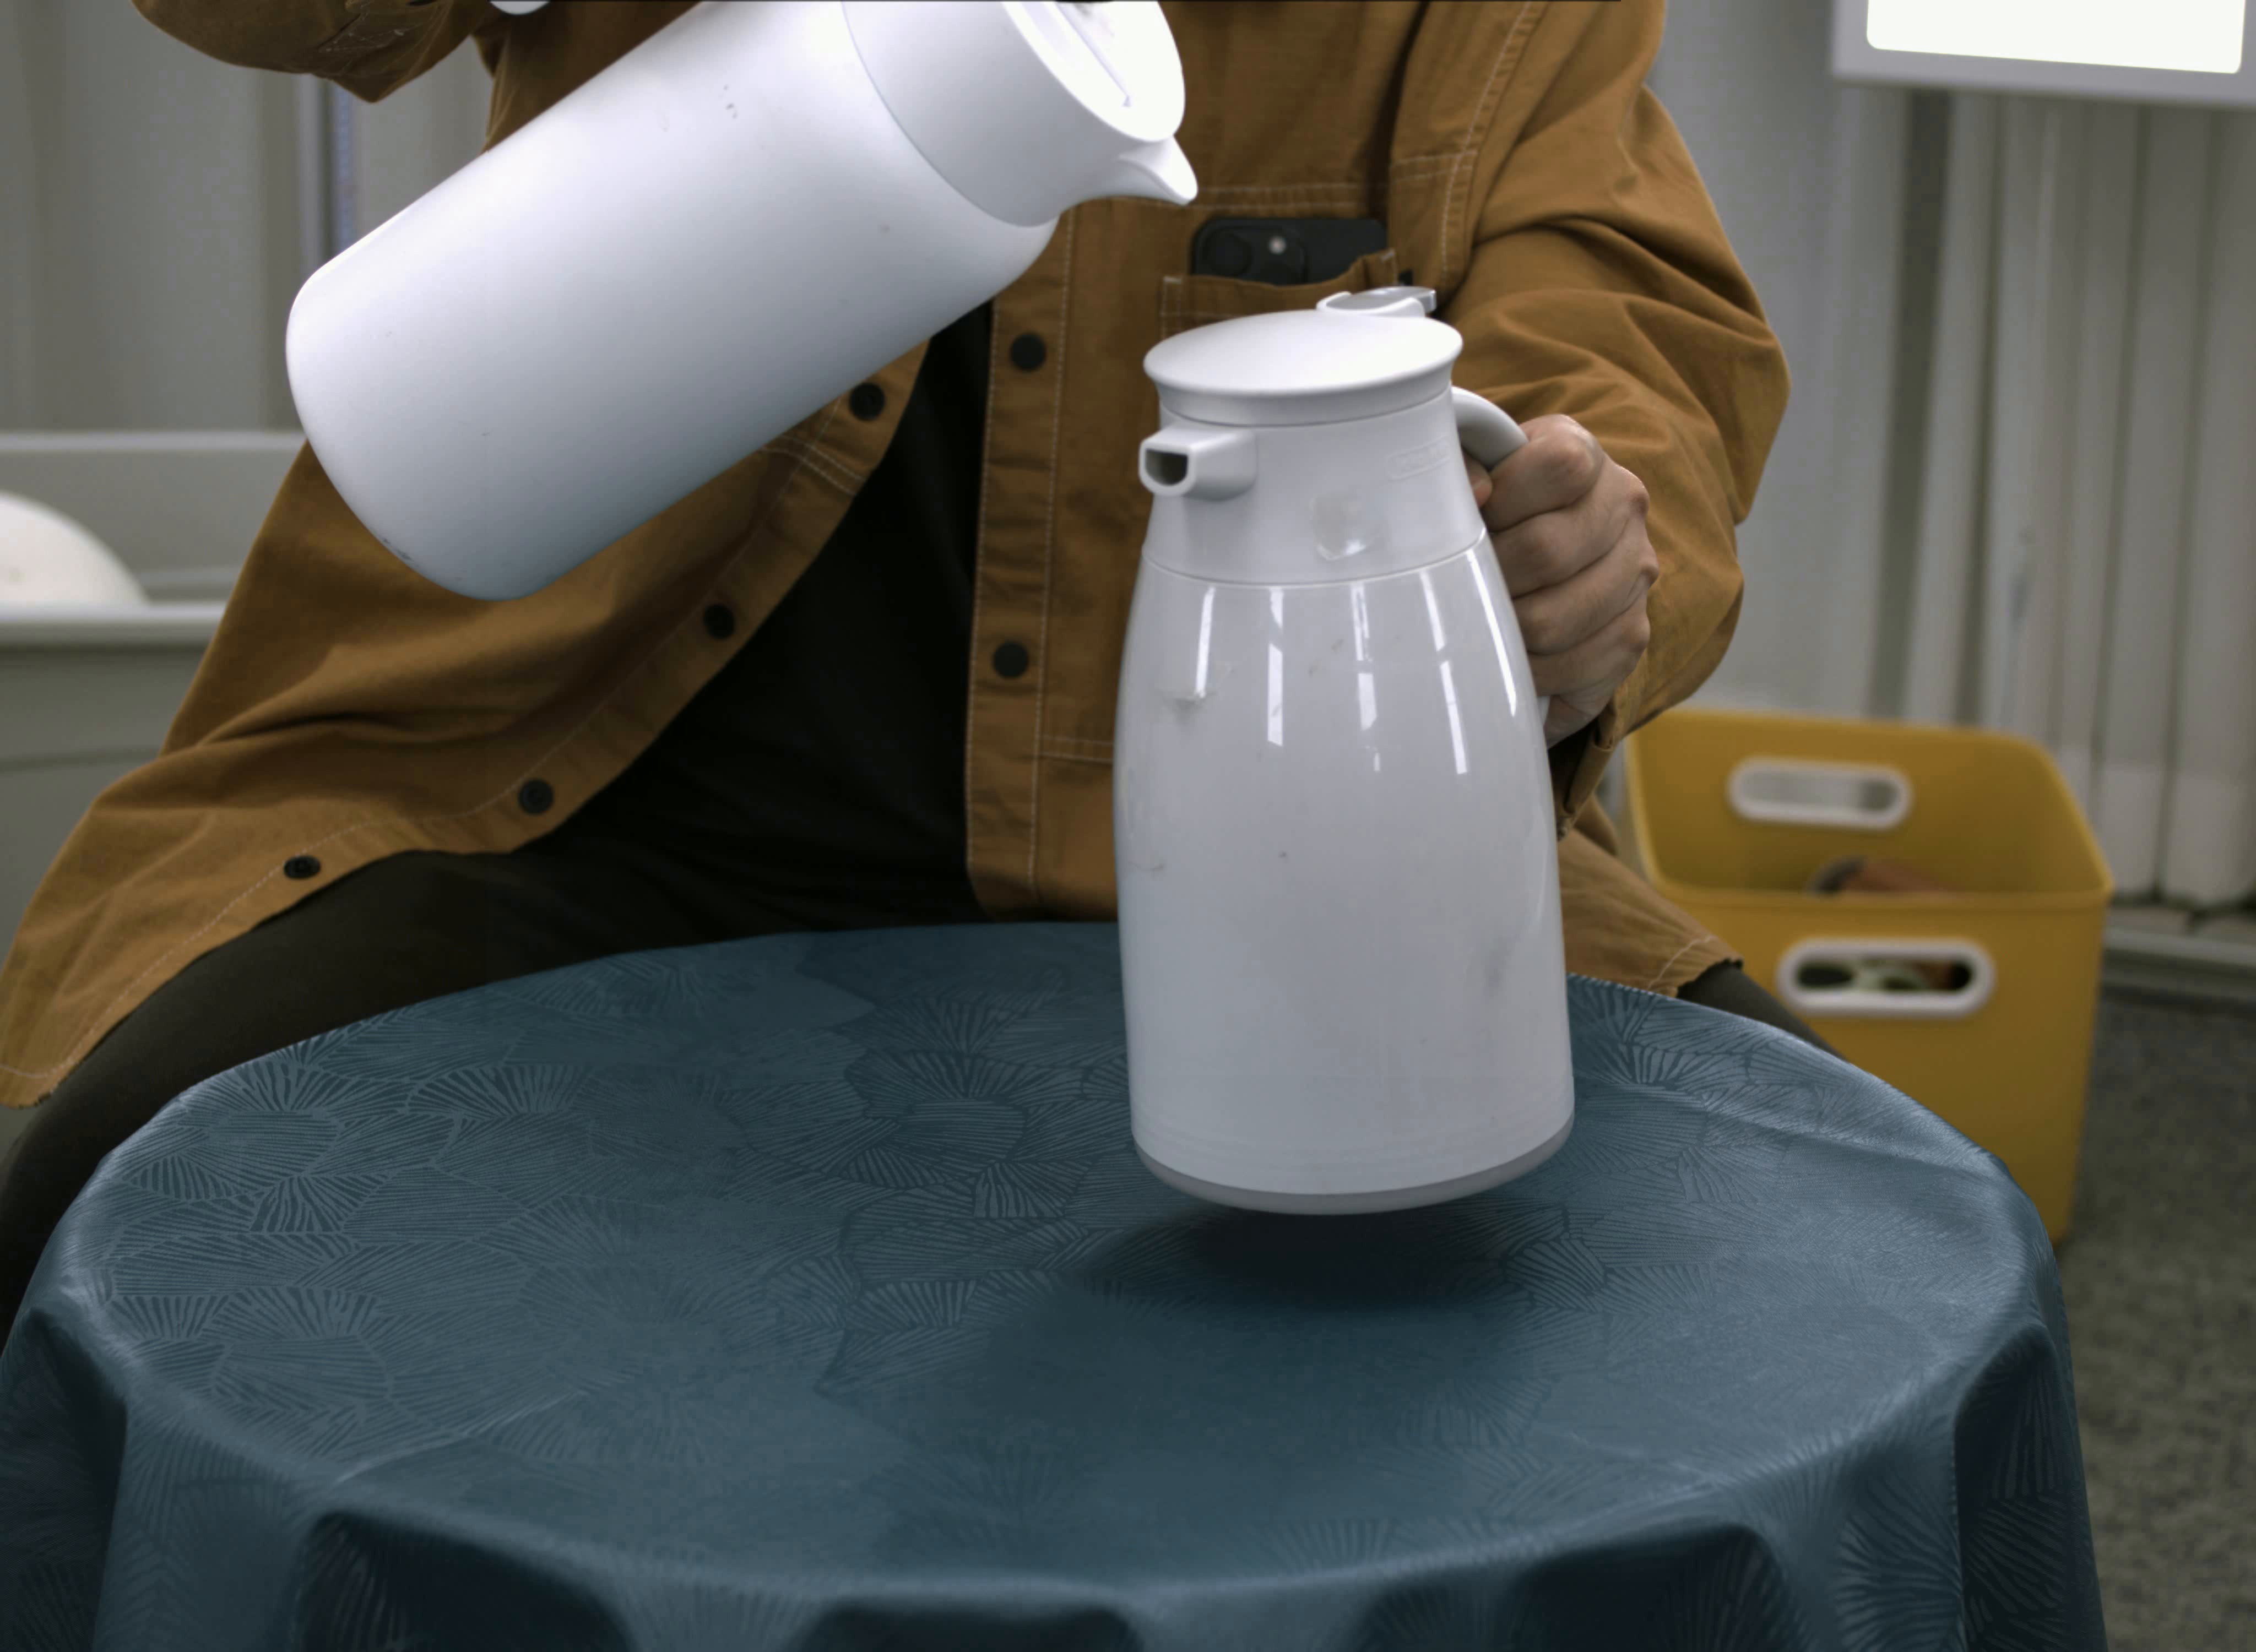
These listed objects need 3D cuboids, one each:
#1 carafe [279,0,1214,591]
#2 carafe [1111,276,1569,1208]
[{"bbox_3d":[-0.127,-0.191,1.522,0.268,0.174,0.123,-30,18,28],"label":"carafe"},{"bbox_3d":[0.069,-0.033,1.542,0.131,0.251,0.168,12,24,38],"label":"carafe"}]
